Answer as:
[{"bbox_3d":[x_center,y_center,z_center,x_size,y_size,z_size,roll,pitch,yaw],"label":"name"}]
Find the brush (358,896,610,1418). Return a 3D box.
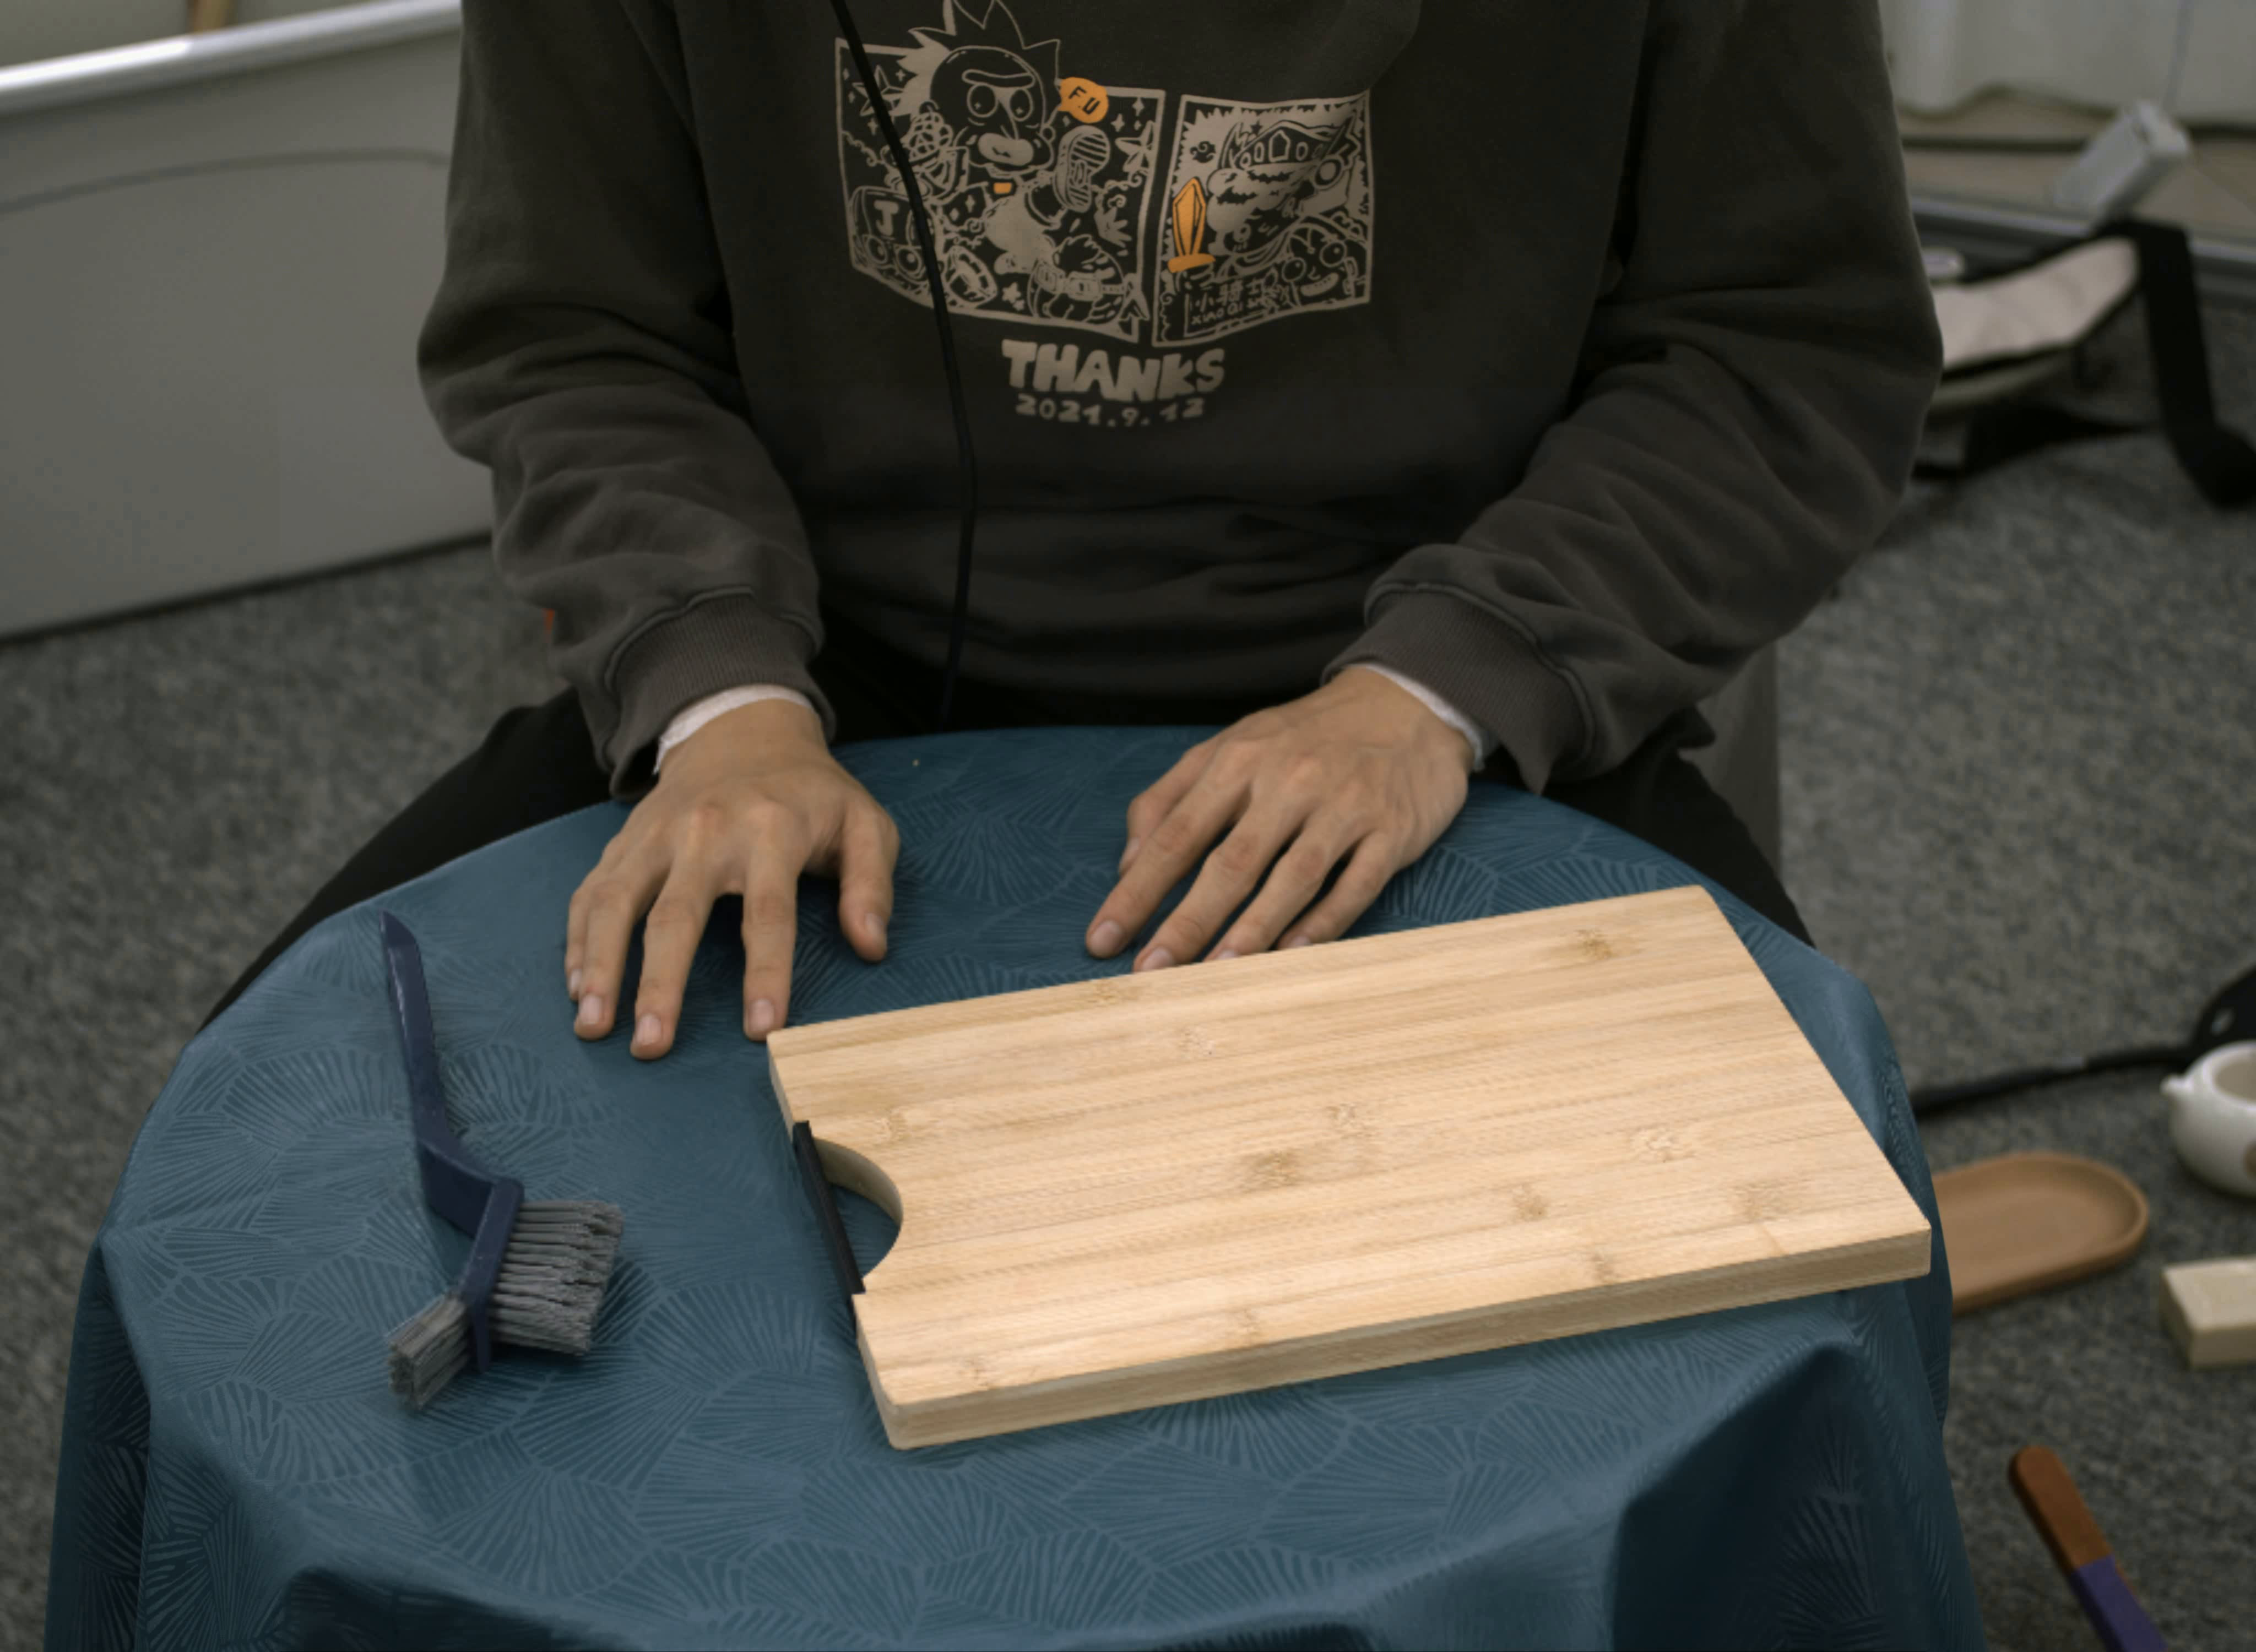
[{"bbox_3d":[-0.238,0.106,1.881,0.096,0.033,0.276,-11,30,-16],"label":"brush"}]

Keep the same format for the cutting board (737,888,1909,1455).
[{"bbox_3d":[0.060,0.109,1.861,0.348,0.023,0.253,-9,28,-11],"label":"cutting board"}]
